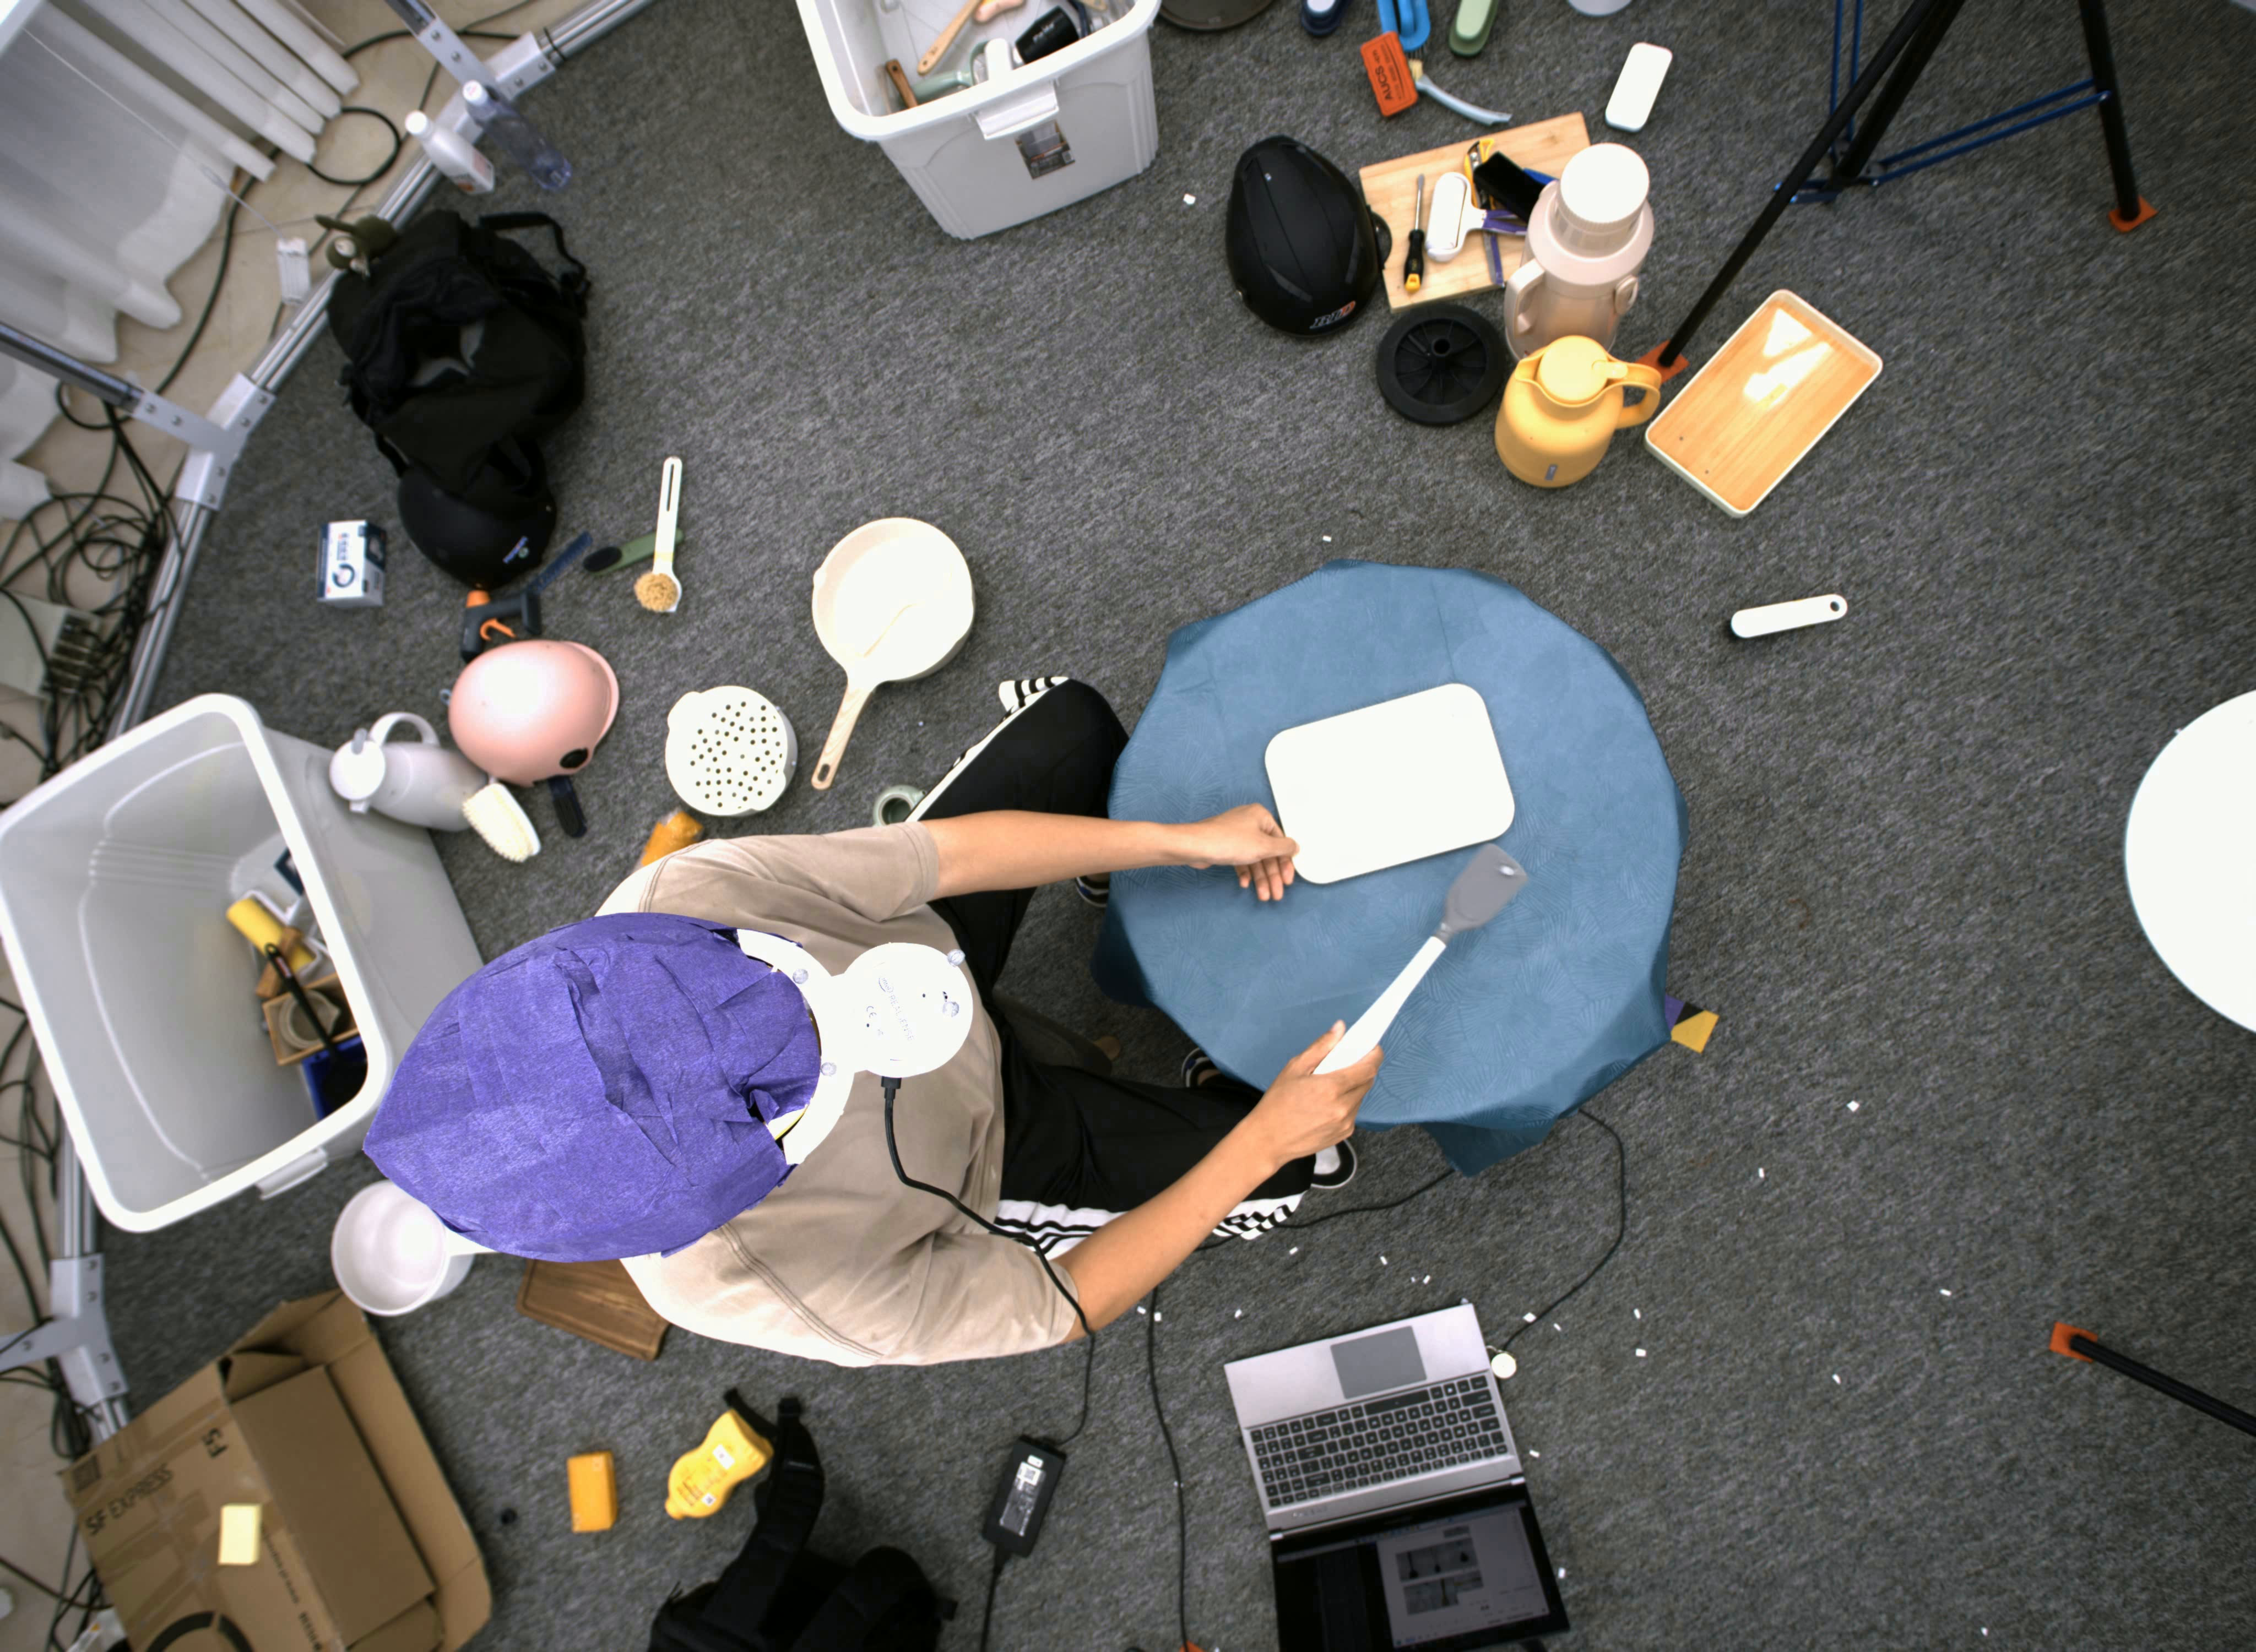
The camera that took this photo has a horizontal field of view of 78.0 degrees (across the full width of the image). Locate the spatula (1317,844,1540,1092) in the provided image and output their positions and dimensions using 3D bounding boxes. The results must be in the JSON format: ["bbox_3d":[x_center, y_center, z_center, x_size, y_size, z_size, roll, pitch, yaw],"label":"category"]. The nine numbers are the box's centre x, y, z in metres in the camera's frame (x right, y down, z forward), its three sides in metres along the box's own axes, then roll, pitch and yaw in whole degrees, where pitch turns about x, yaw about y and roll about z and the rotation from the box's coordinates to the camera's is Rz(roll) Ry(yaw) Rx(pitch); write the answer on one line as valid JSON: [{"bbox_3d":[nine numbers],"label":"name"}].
[{"bbox_3d":[0.287,0.137,1.333,0.058,0.032,0.287,41,87,12],"label":"spatula"}]

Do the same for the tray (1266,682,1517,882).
[{"bbox_3d":[0.277,-0.047,1.458,0.241,0.017,0.170,-16,83,9],"label":"tray"}]
